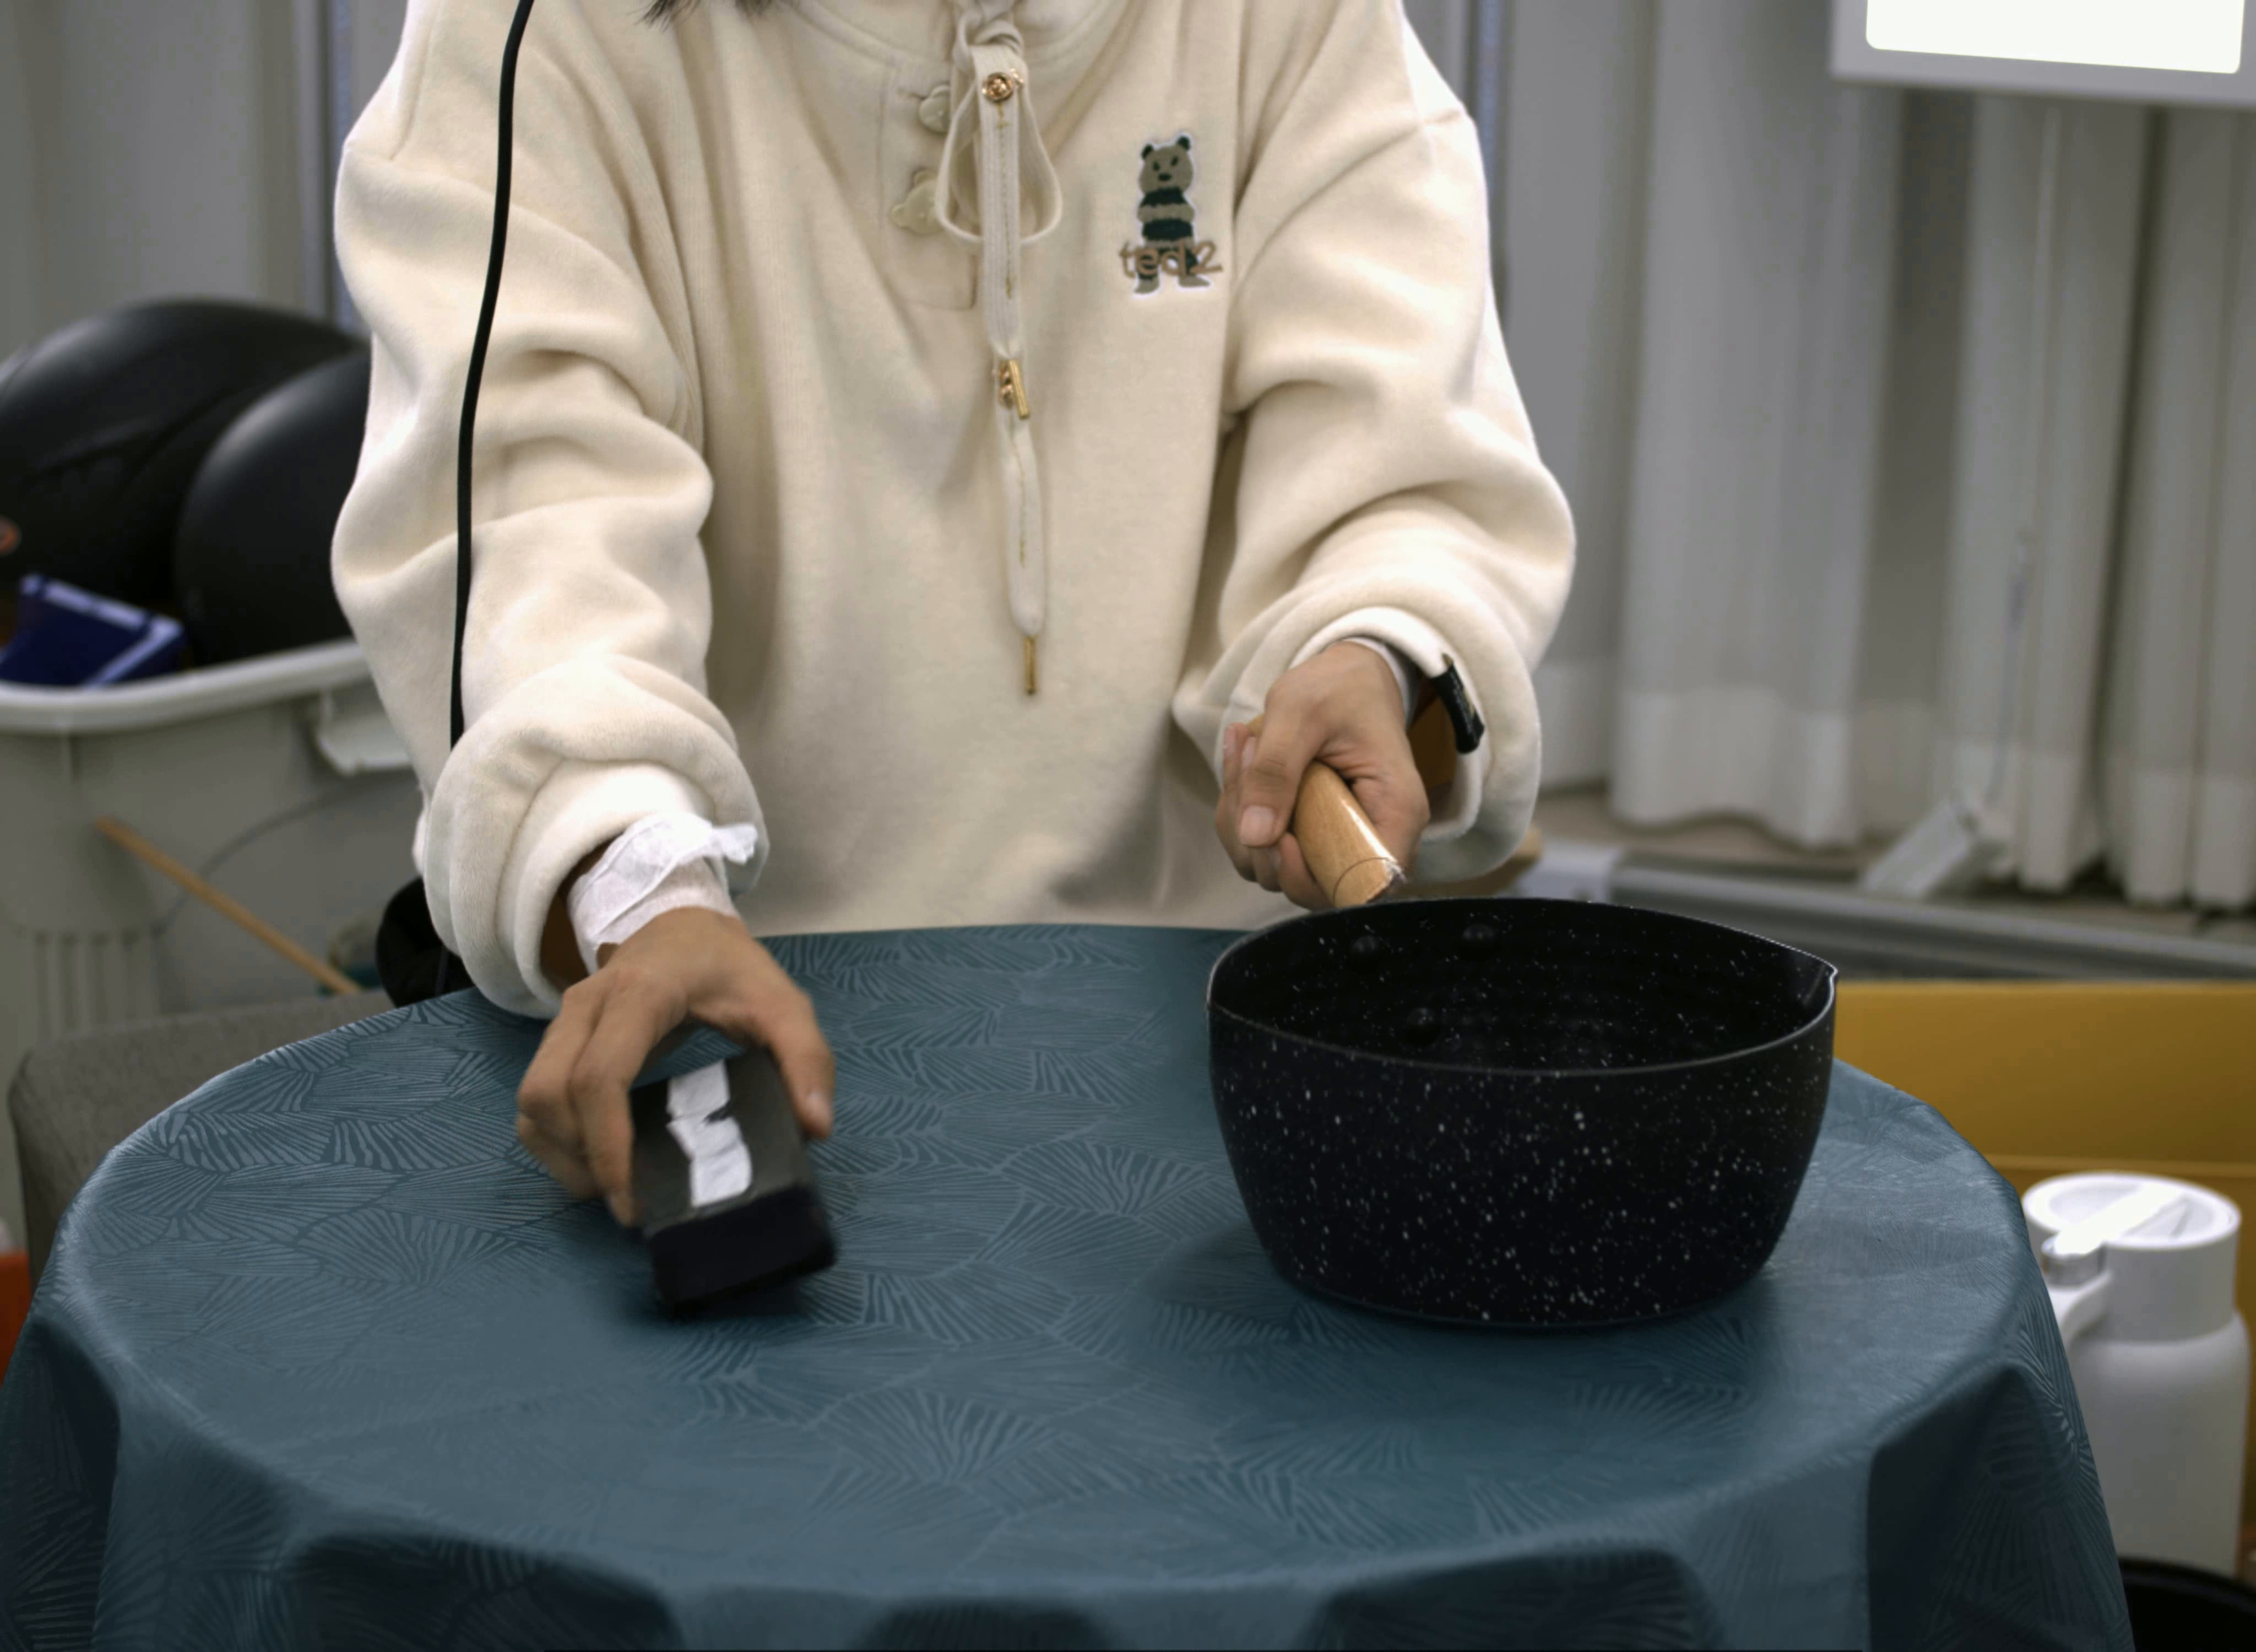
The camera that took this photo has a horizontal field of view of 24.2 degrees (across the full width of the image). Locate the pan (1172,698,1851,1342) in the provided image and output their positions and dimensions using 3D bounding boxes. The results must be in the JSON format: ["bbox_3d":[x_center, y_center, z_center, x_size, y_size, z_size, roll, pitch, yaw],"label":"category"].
[{"bbox_3d":[0.094,0.054,1.626,0.208,0.109,0.339,-5,18,-16],"label":"pan"}]

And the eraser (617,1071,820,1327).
[{"bbox_3d":[-0.121,0.109,1.555,0.053,0.031,0.124,-14,17,-3],"label":"eraser"}]
